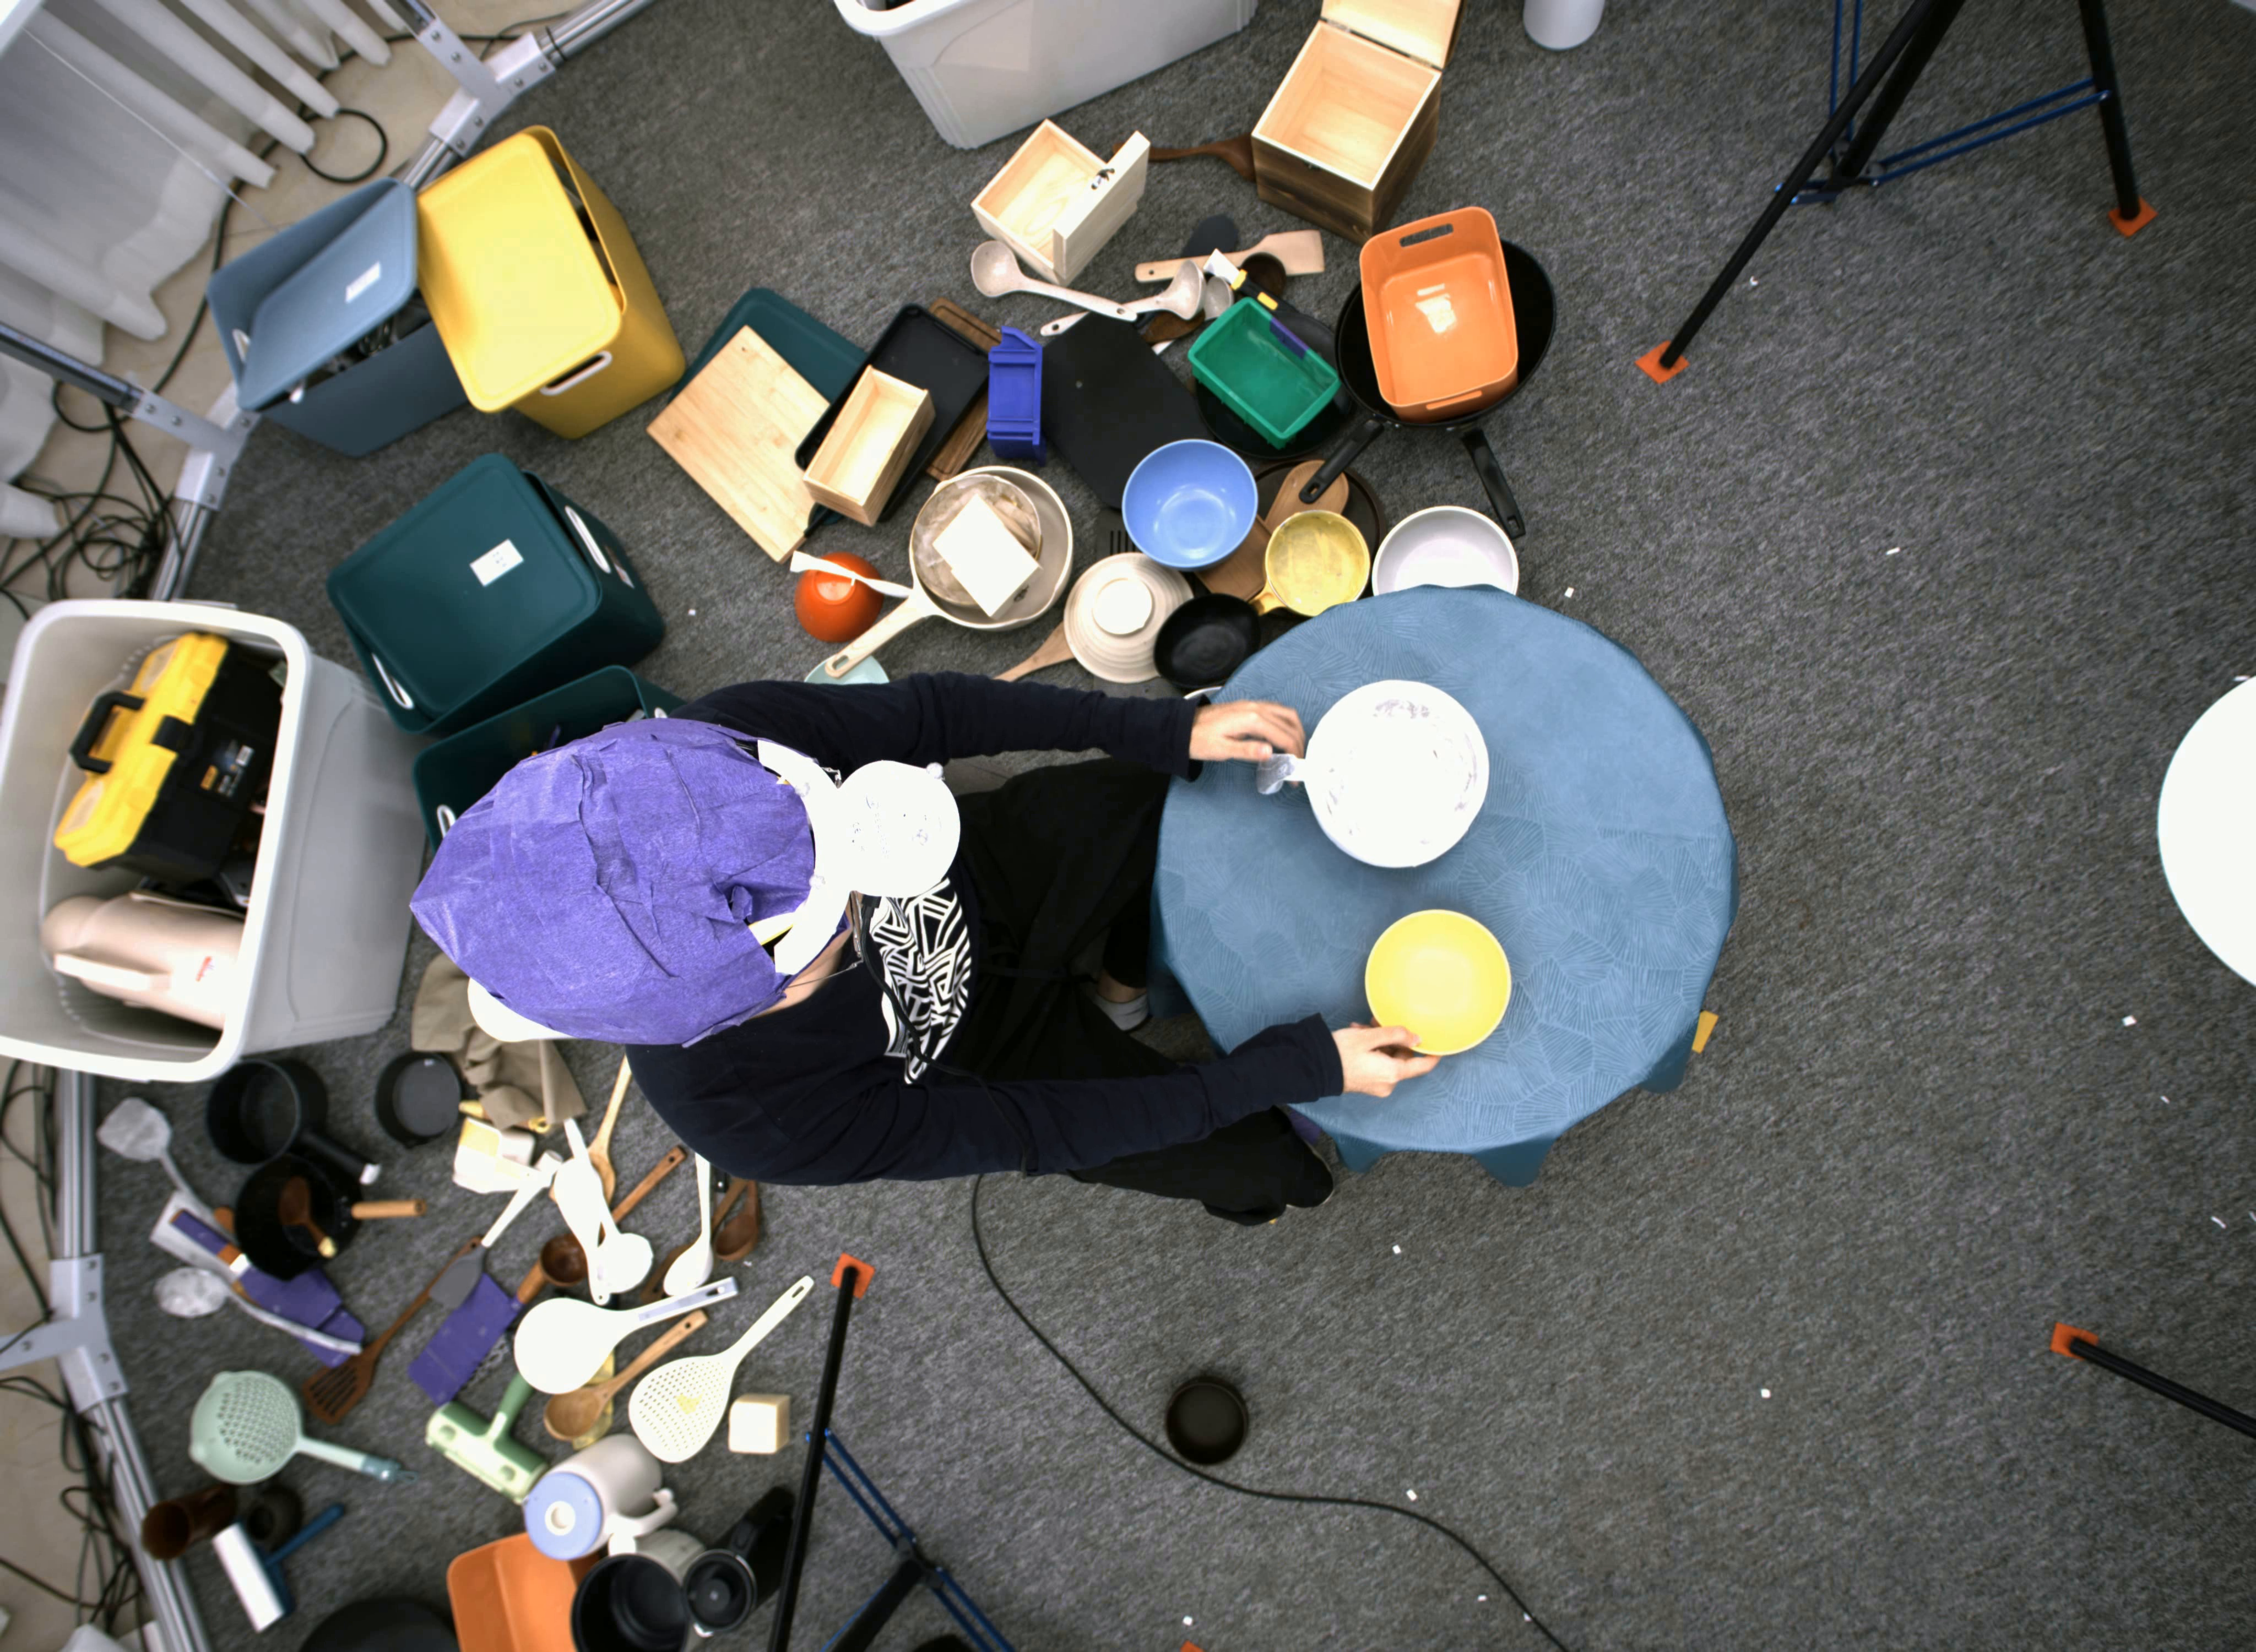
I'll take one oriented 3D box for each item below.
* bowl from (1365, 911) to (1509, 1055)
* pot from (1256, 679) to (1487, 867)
[{"bbox_3d":[0.315,0.159,1.415,0.146,0.060,0.144,-1,85,9],"label":"bowl"},{"bbox_3d":[0.244,-0.051,1.405,0.234,0.136,0.178,2,86,12],"label":"pot"}]
